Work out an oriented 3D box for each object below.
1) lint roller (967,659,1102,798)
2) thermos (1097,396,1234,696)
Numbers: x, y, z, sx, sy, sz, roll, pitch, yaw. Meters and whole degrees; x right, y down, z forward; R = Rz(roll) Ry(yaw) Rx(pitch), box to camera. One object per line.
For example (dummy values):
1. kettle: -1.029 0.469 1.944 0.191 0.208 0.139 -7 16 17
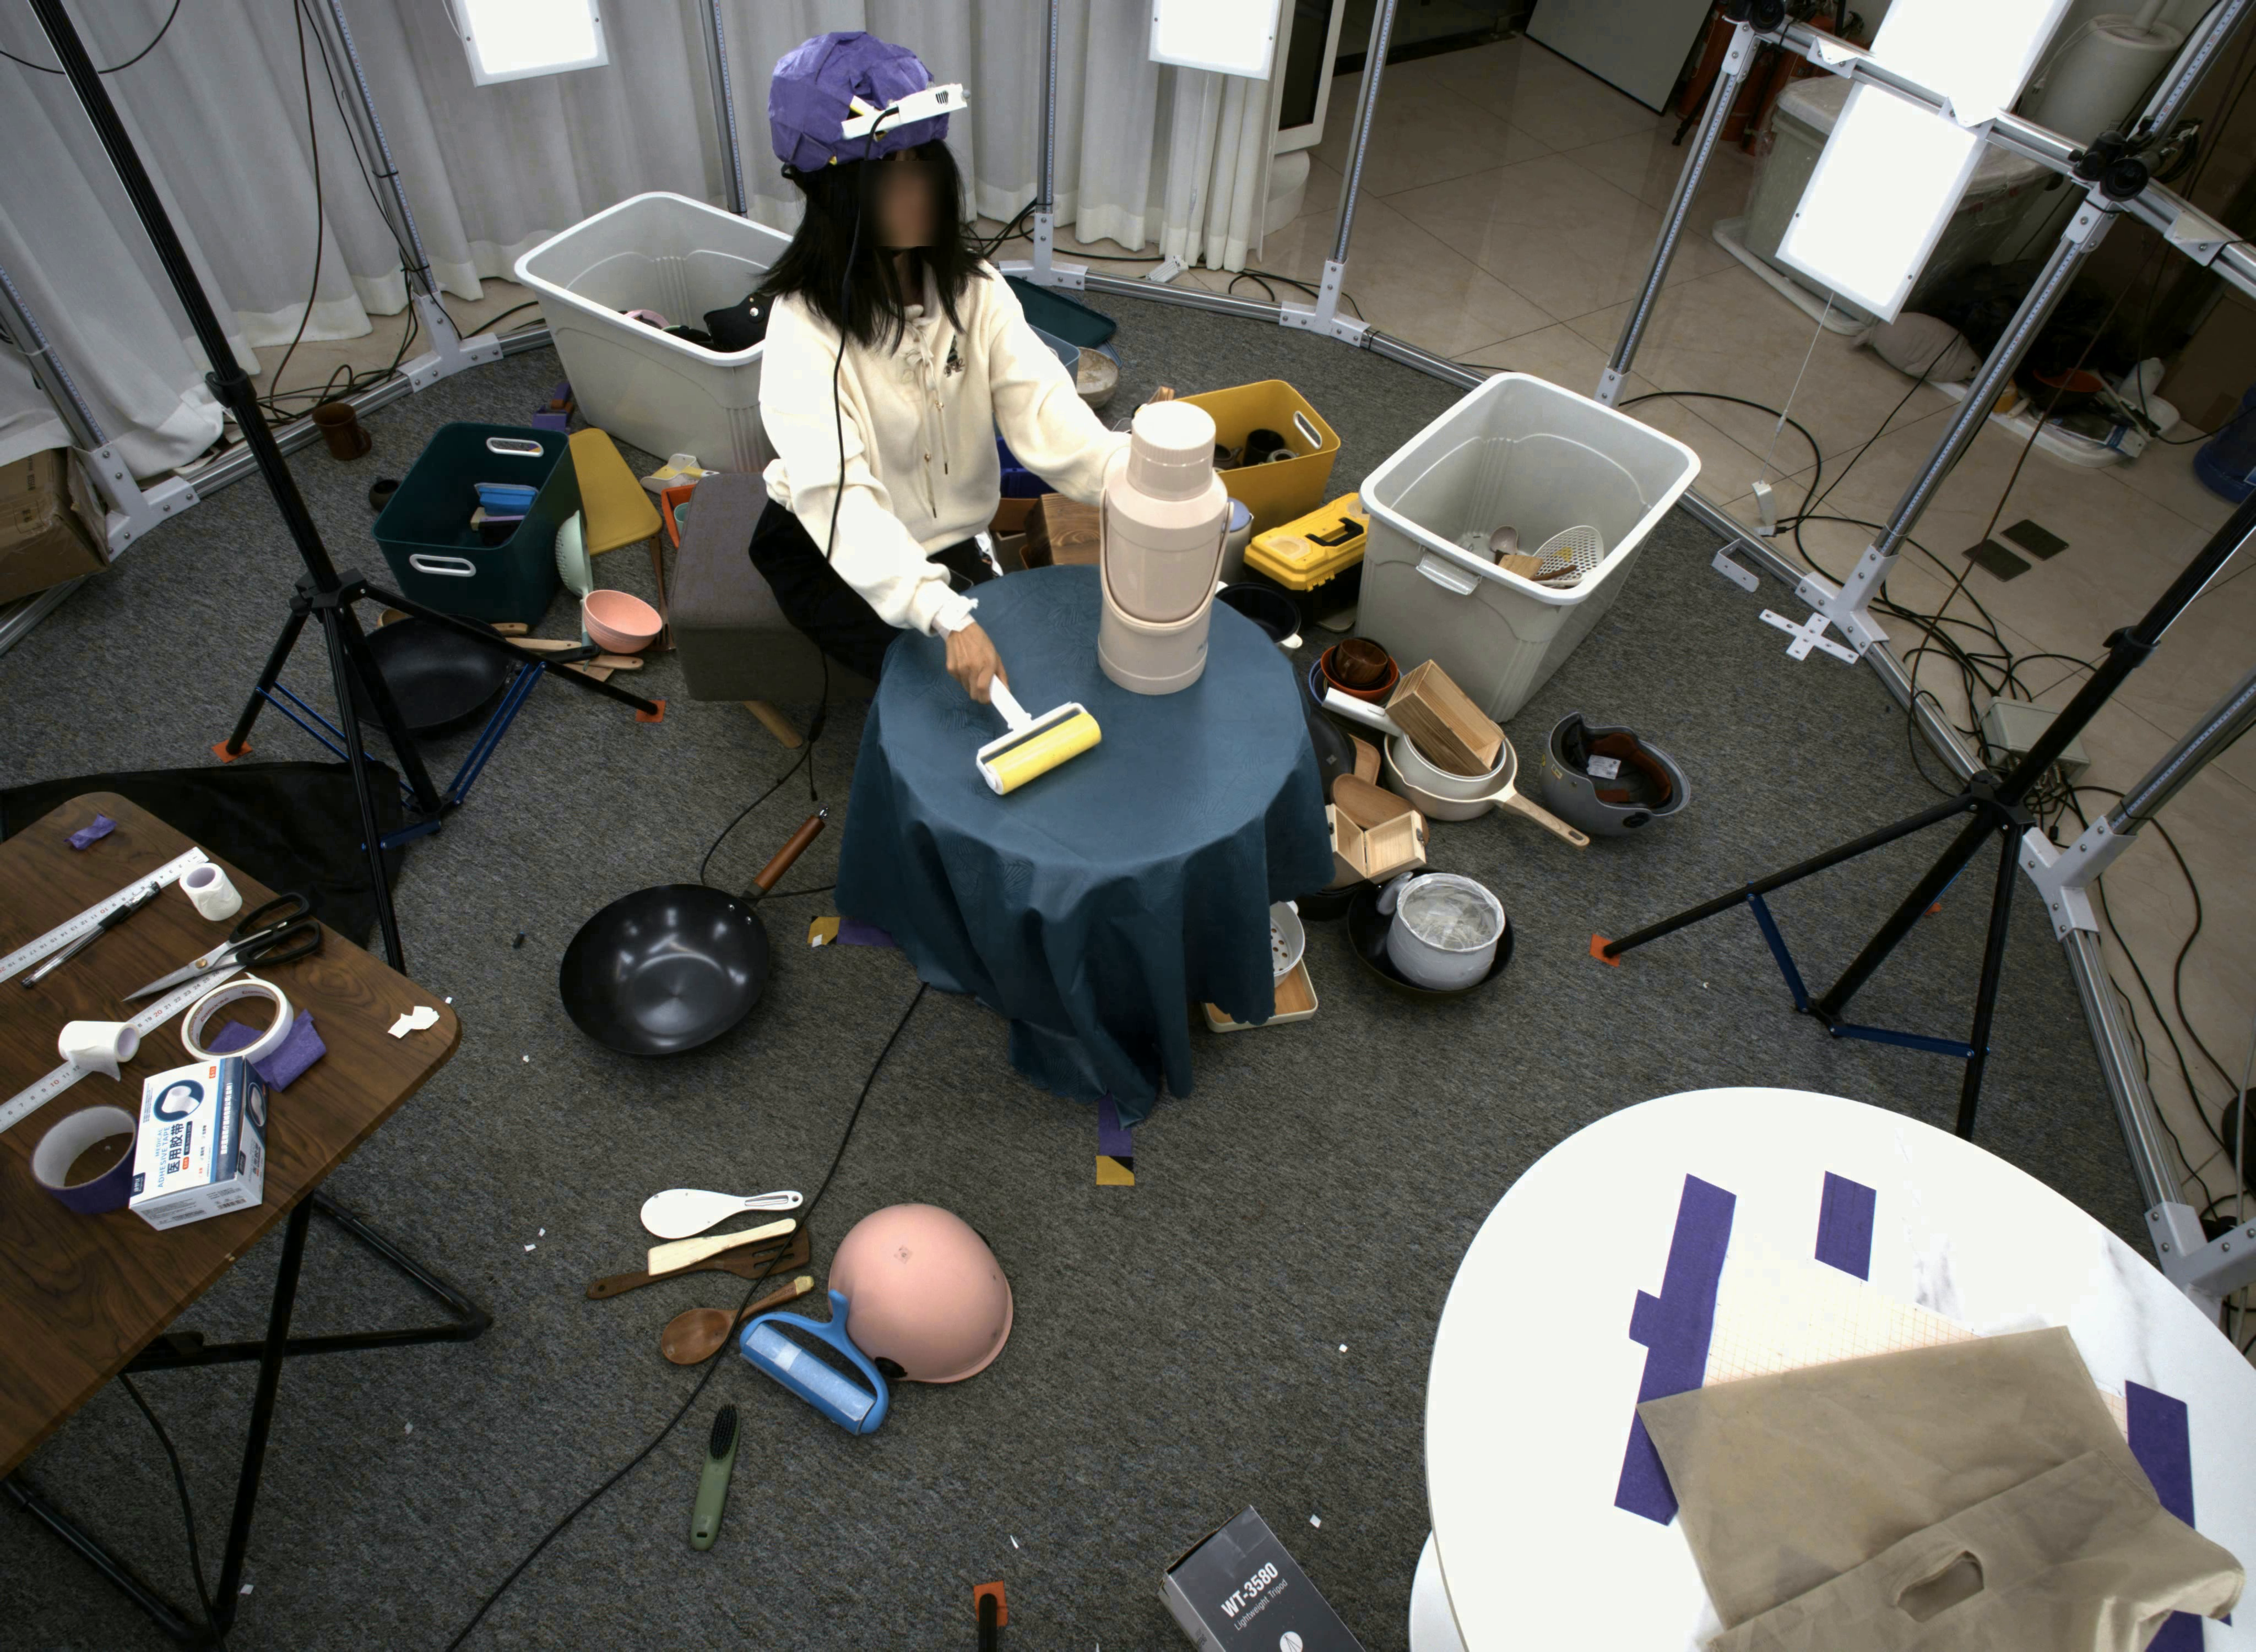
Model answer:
1. lint roller: -0.154 -0.153 1.727 0.175 0.051 0.193 -30 81 -25
2. thermos: 0.049 -0.382 1.750 0.175 0.396 0.212 6 49 2
